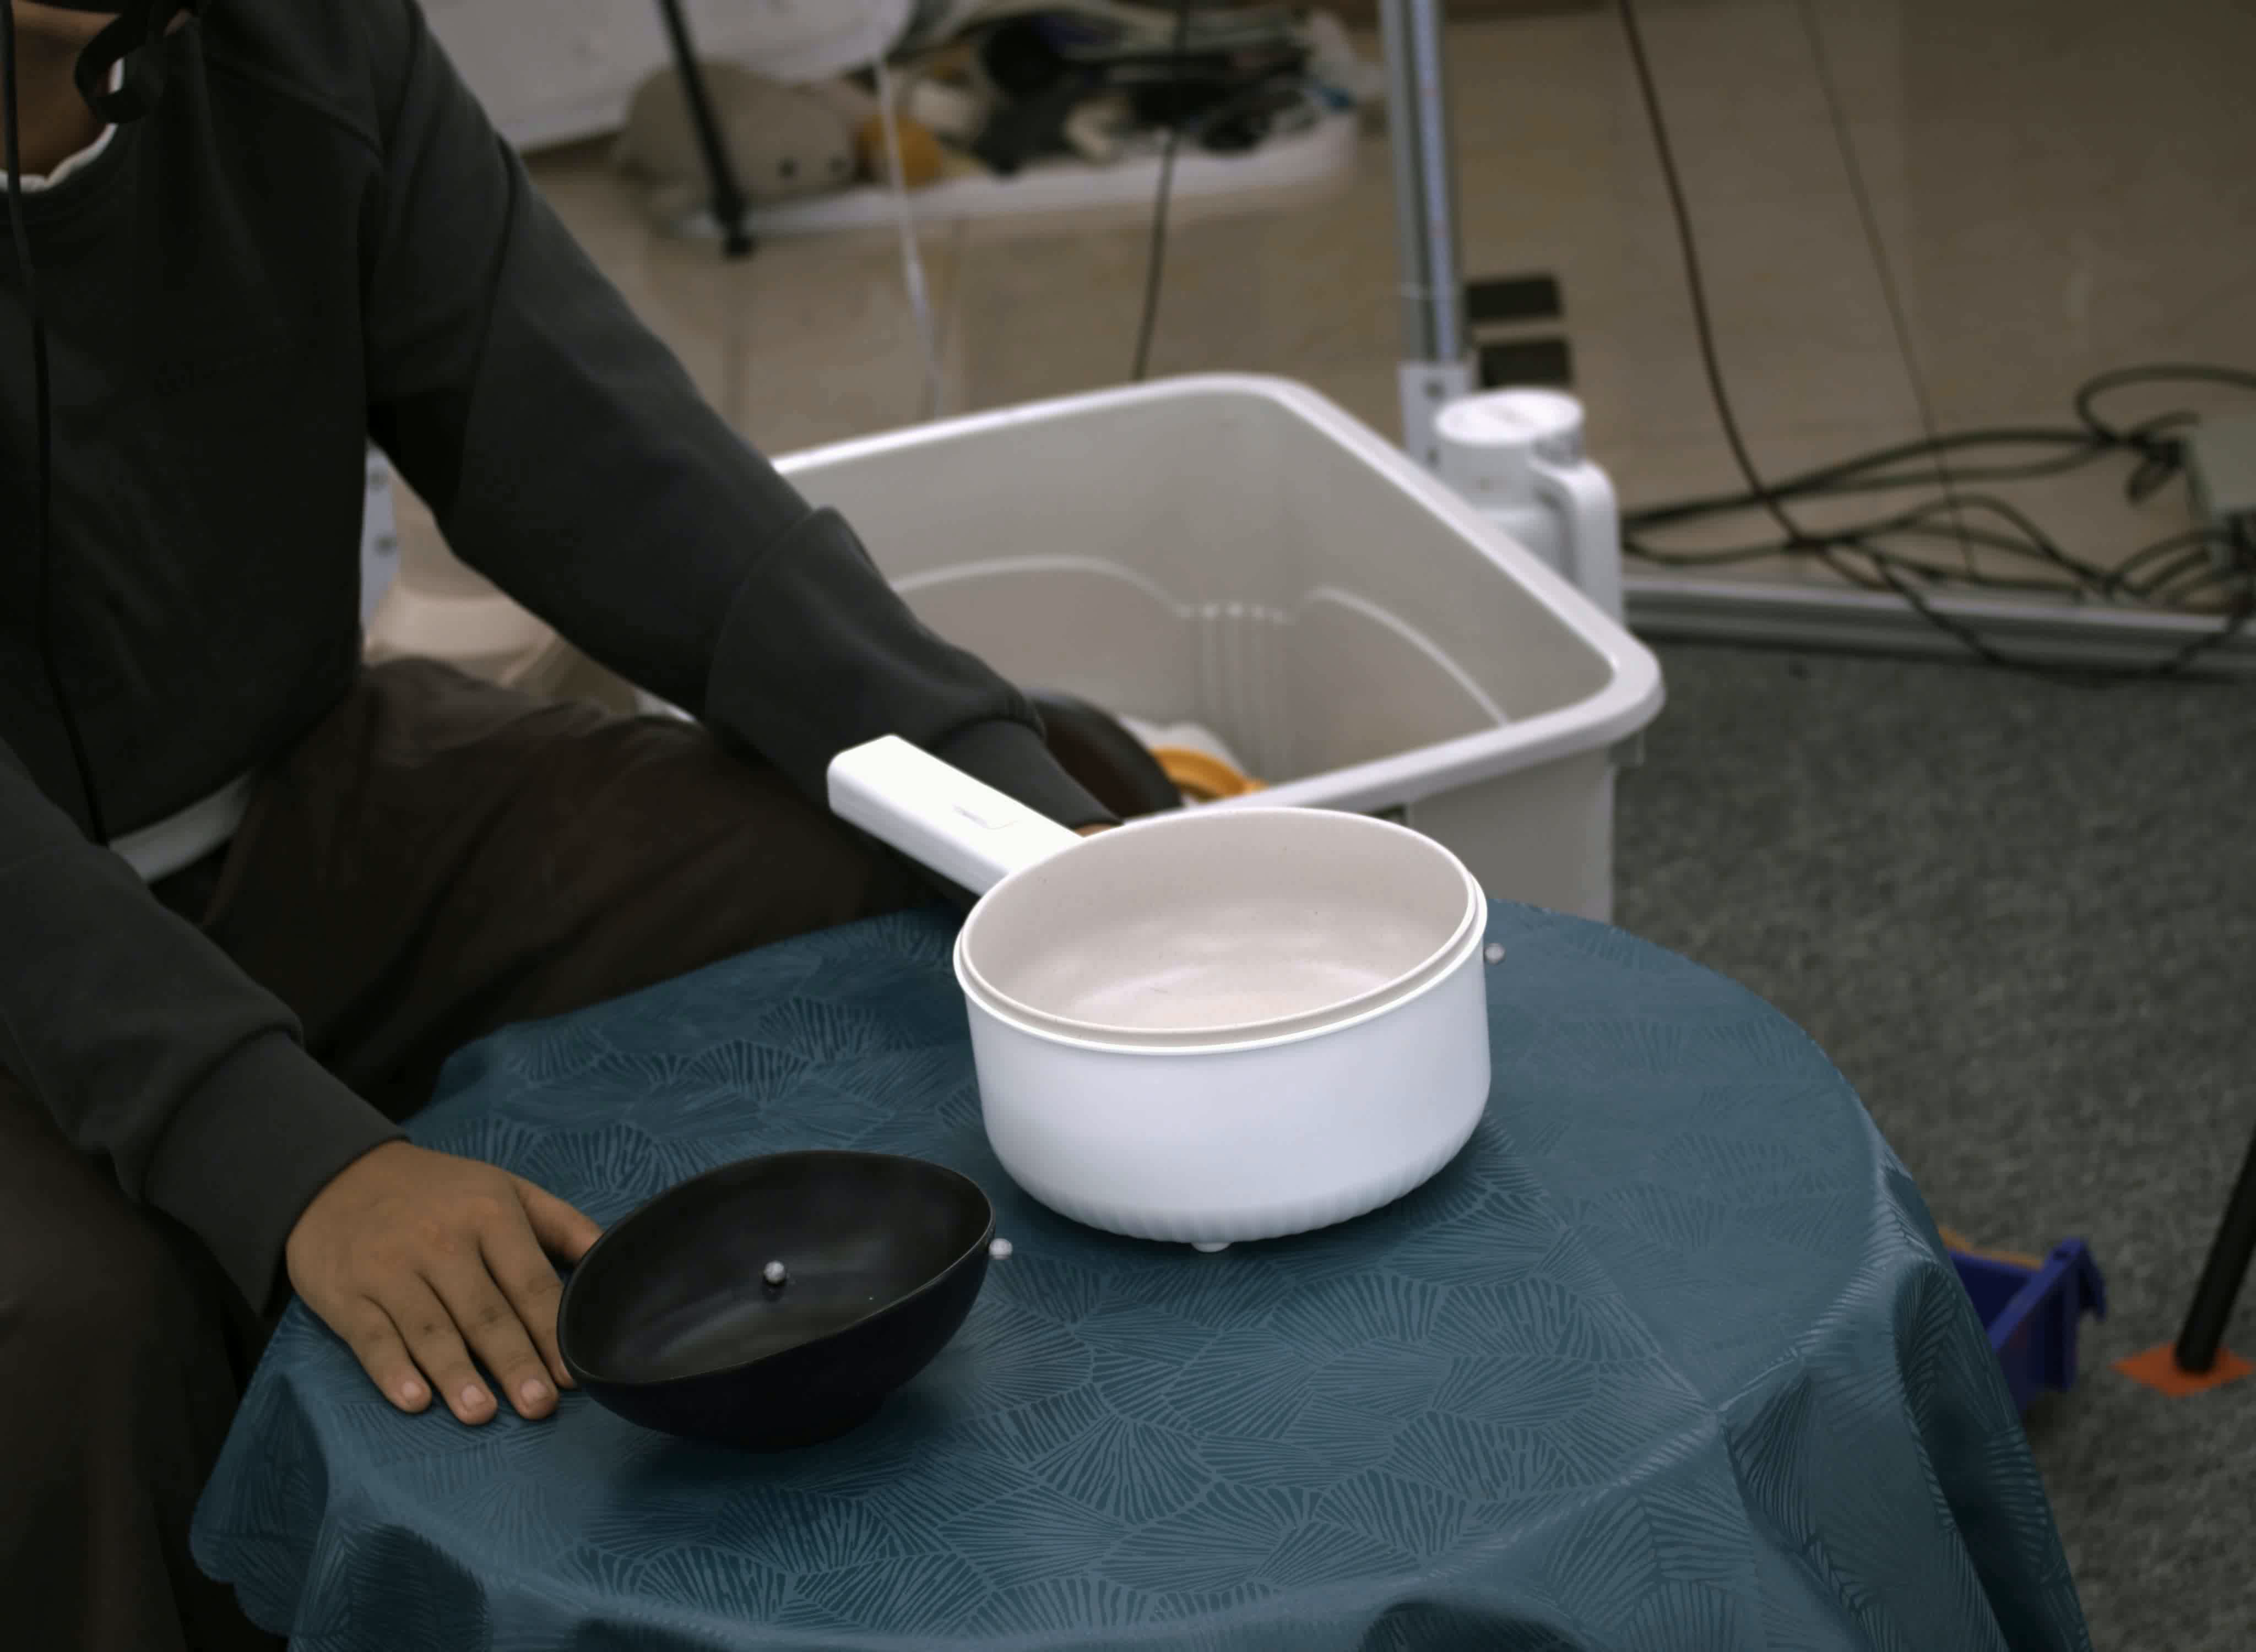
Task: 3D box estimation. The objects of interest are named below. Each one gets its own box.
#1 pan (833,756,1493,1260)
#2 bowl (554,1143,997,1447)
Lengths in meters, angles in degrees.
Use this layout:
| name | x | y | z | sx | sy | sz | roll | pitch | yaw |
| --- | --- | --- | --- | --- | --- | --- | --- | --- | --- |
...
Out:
| name | x | y | z | sx | sy | sz | roll | pitch | yaw |
| --- | --- | --- | --- | --- | --- | --- | --- | --- | --- |
| pan | -0.004 | 0.063 | 2.208 | 0.200 | 0.103 | 0.351 | -23 | 27 | -28 |
| bowl | -0.121 | 0.176 | 2.017 | 0.169 | 0.068 | 0.136 | -26 | 31 | -34 |
